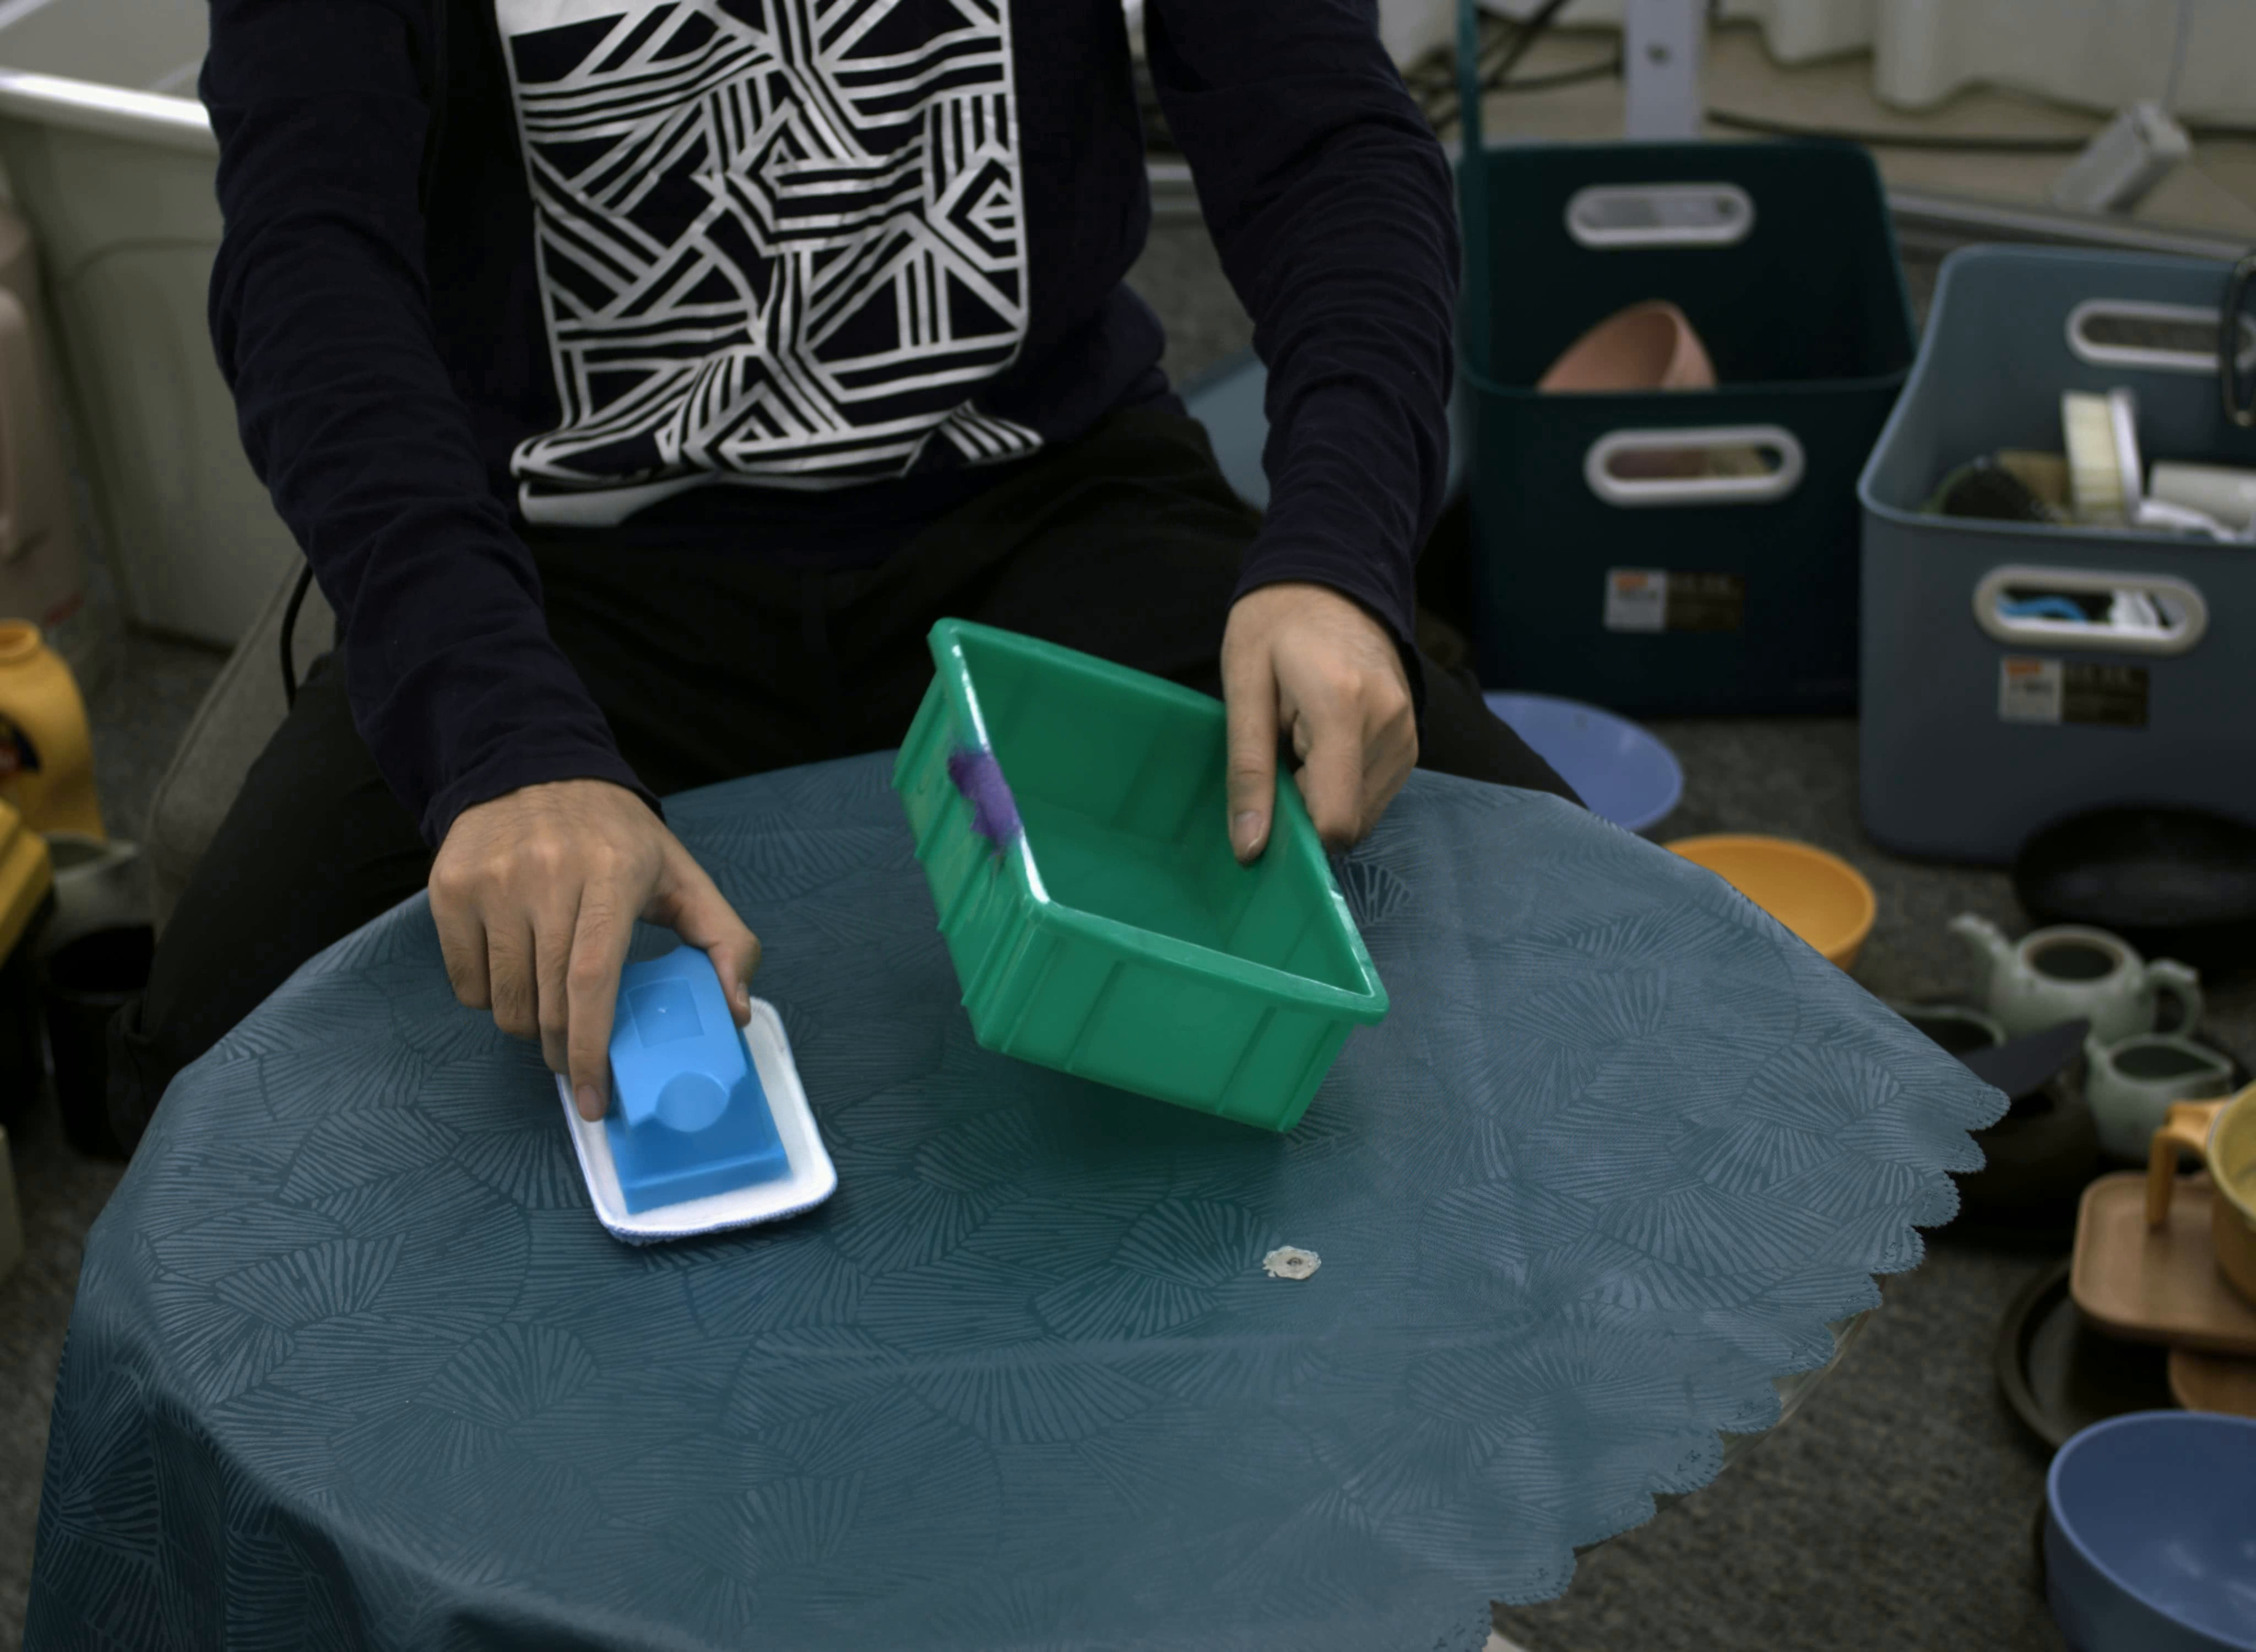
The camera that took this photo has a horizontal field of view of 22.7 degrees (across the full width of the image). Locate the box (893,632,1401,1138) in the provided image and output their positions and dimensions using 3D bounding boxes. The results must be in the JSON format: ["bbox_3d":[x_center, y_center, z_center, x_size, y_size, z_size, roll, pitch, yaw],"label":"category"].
[{"bbox_3d":[-0.001,0.022,1.922,0.138,0.064,0.213,15,25,-22],"label":"box"}]

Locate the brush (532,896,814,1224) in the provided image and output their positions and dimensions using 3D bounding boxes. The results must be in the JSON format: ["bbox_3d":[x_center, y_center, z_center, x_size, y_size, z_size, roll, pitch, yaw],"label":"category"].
[{"bbox_3d":[-0.154,0.073,1.887,0.084,0.055,0.146,-12,37,-7],"label":"brush"}]
